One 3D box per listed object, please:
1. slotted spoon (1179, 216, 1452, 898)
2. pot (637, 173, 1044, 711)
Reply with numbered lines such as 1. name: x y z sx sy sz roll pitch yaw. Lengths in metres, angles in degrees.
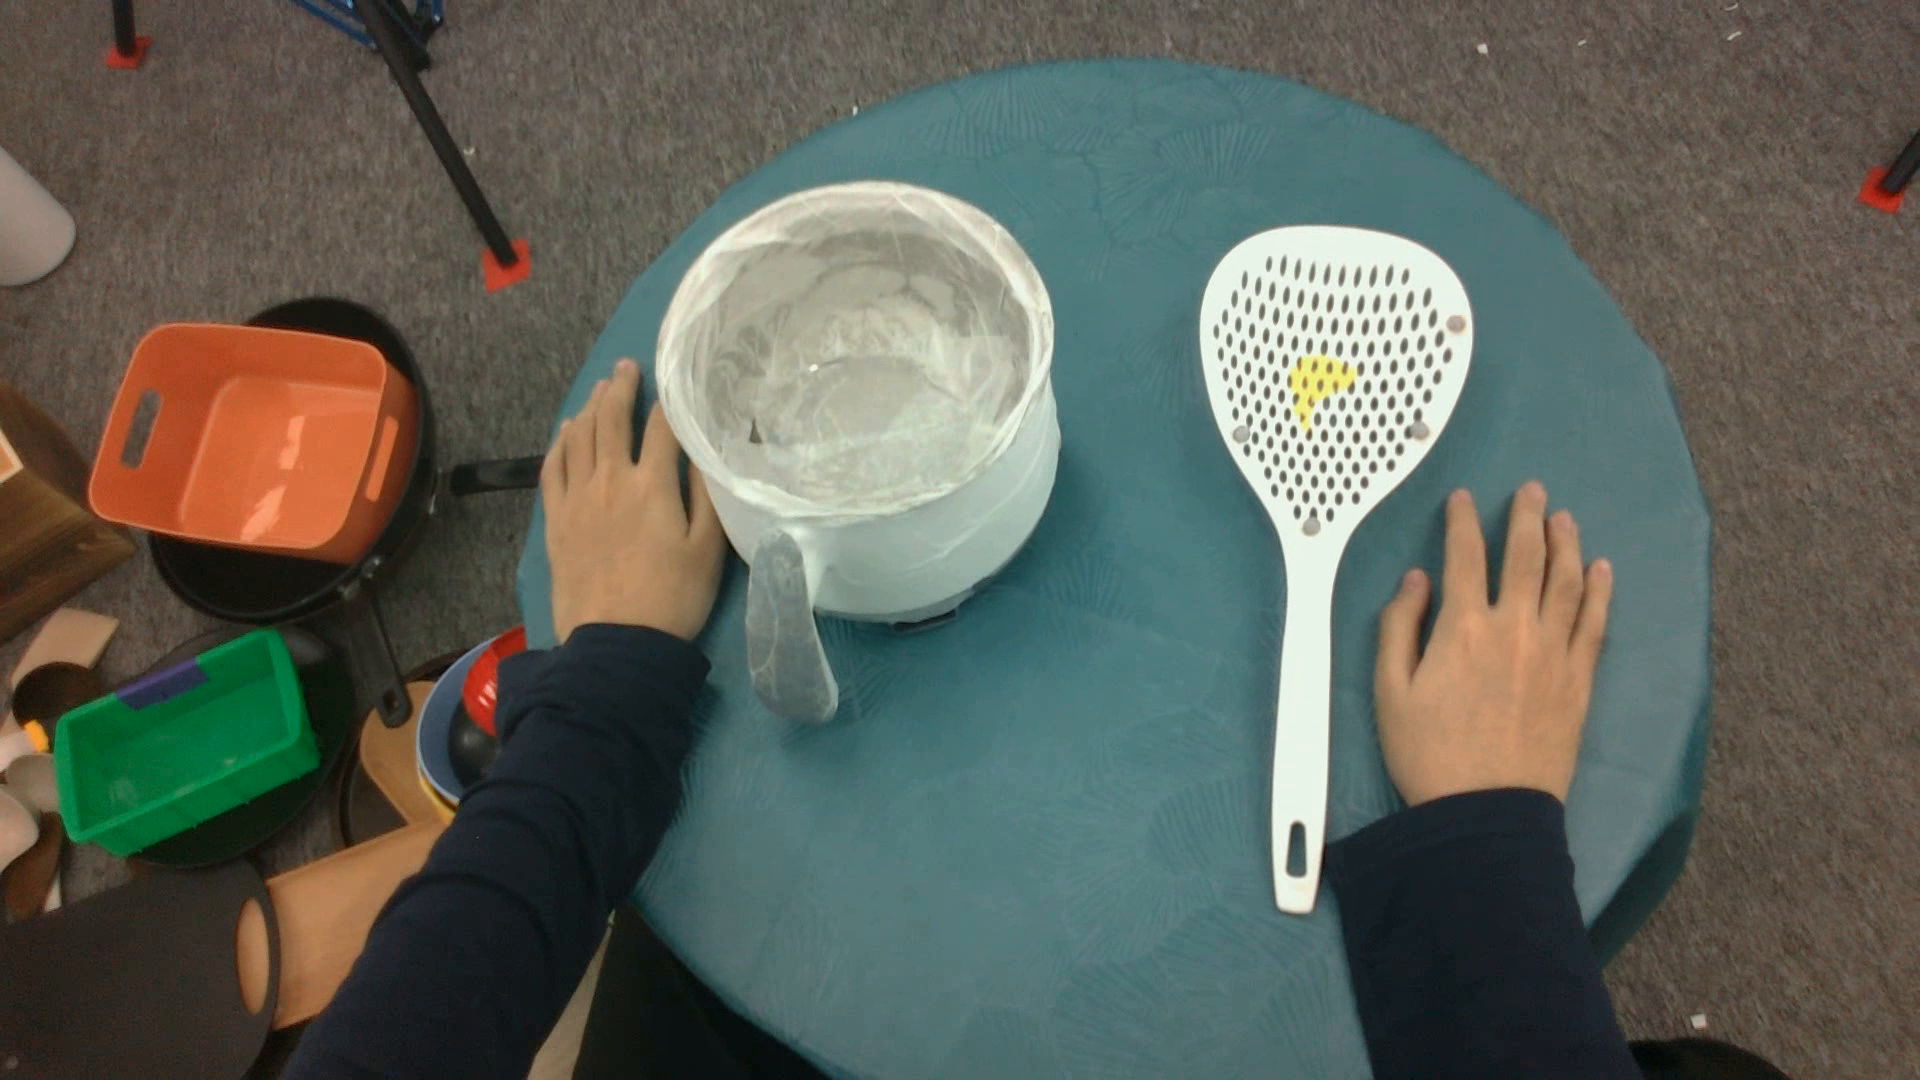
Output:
1. slotted spoon: 0.166 -0.006 0.671 0.137 0.050 0.349 6 64 6
2. pot: -0.056 -0.041 0.653 0.178 0.136 0.234 10 65 12
